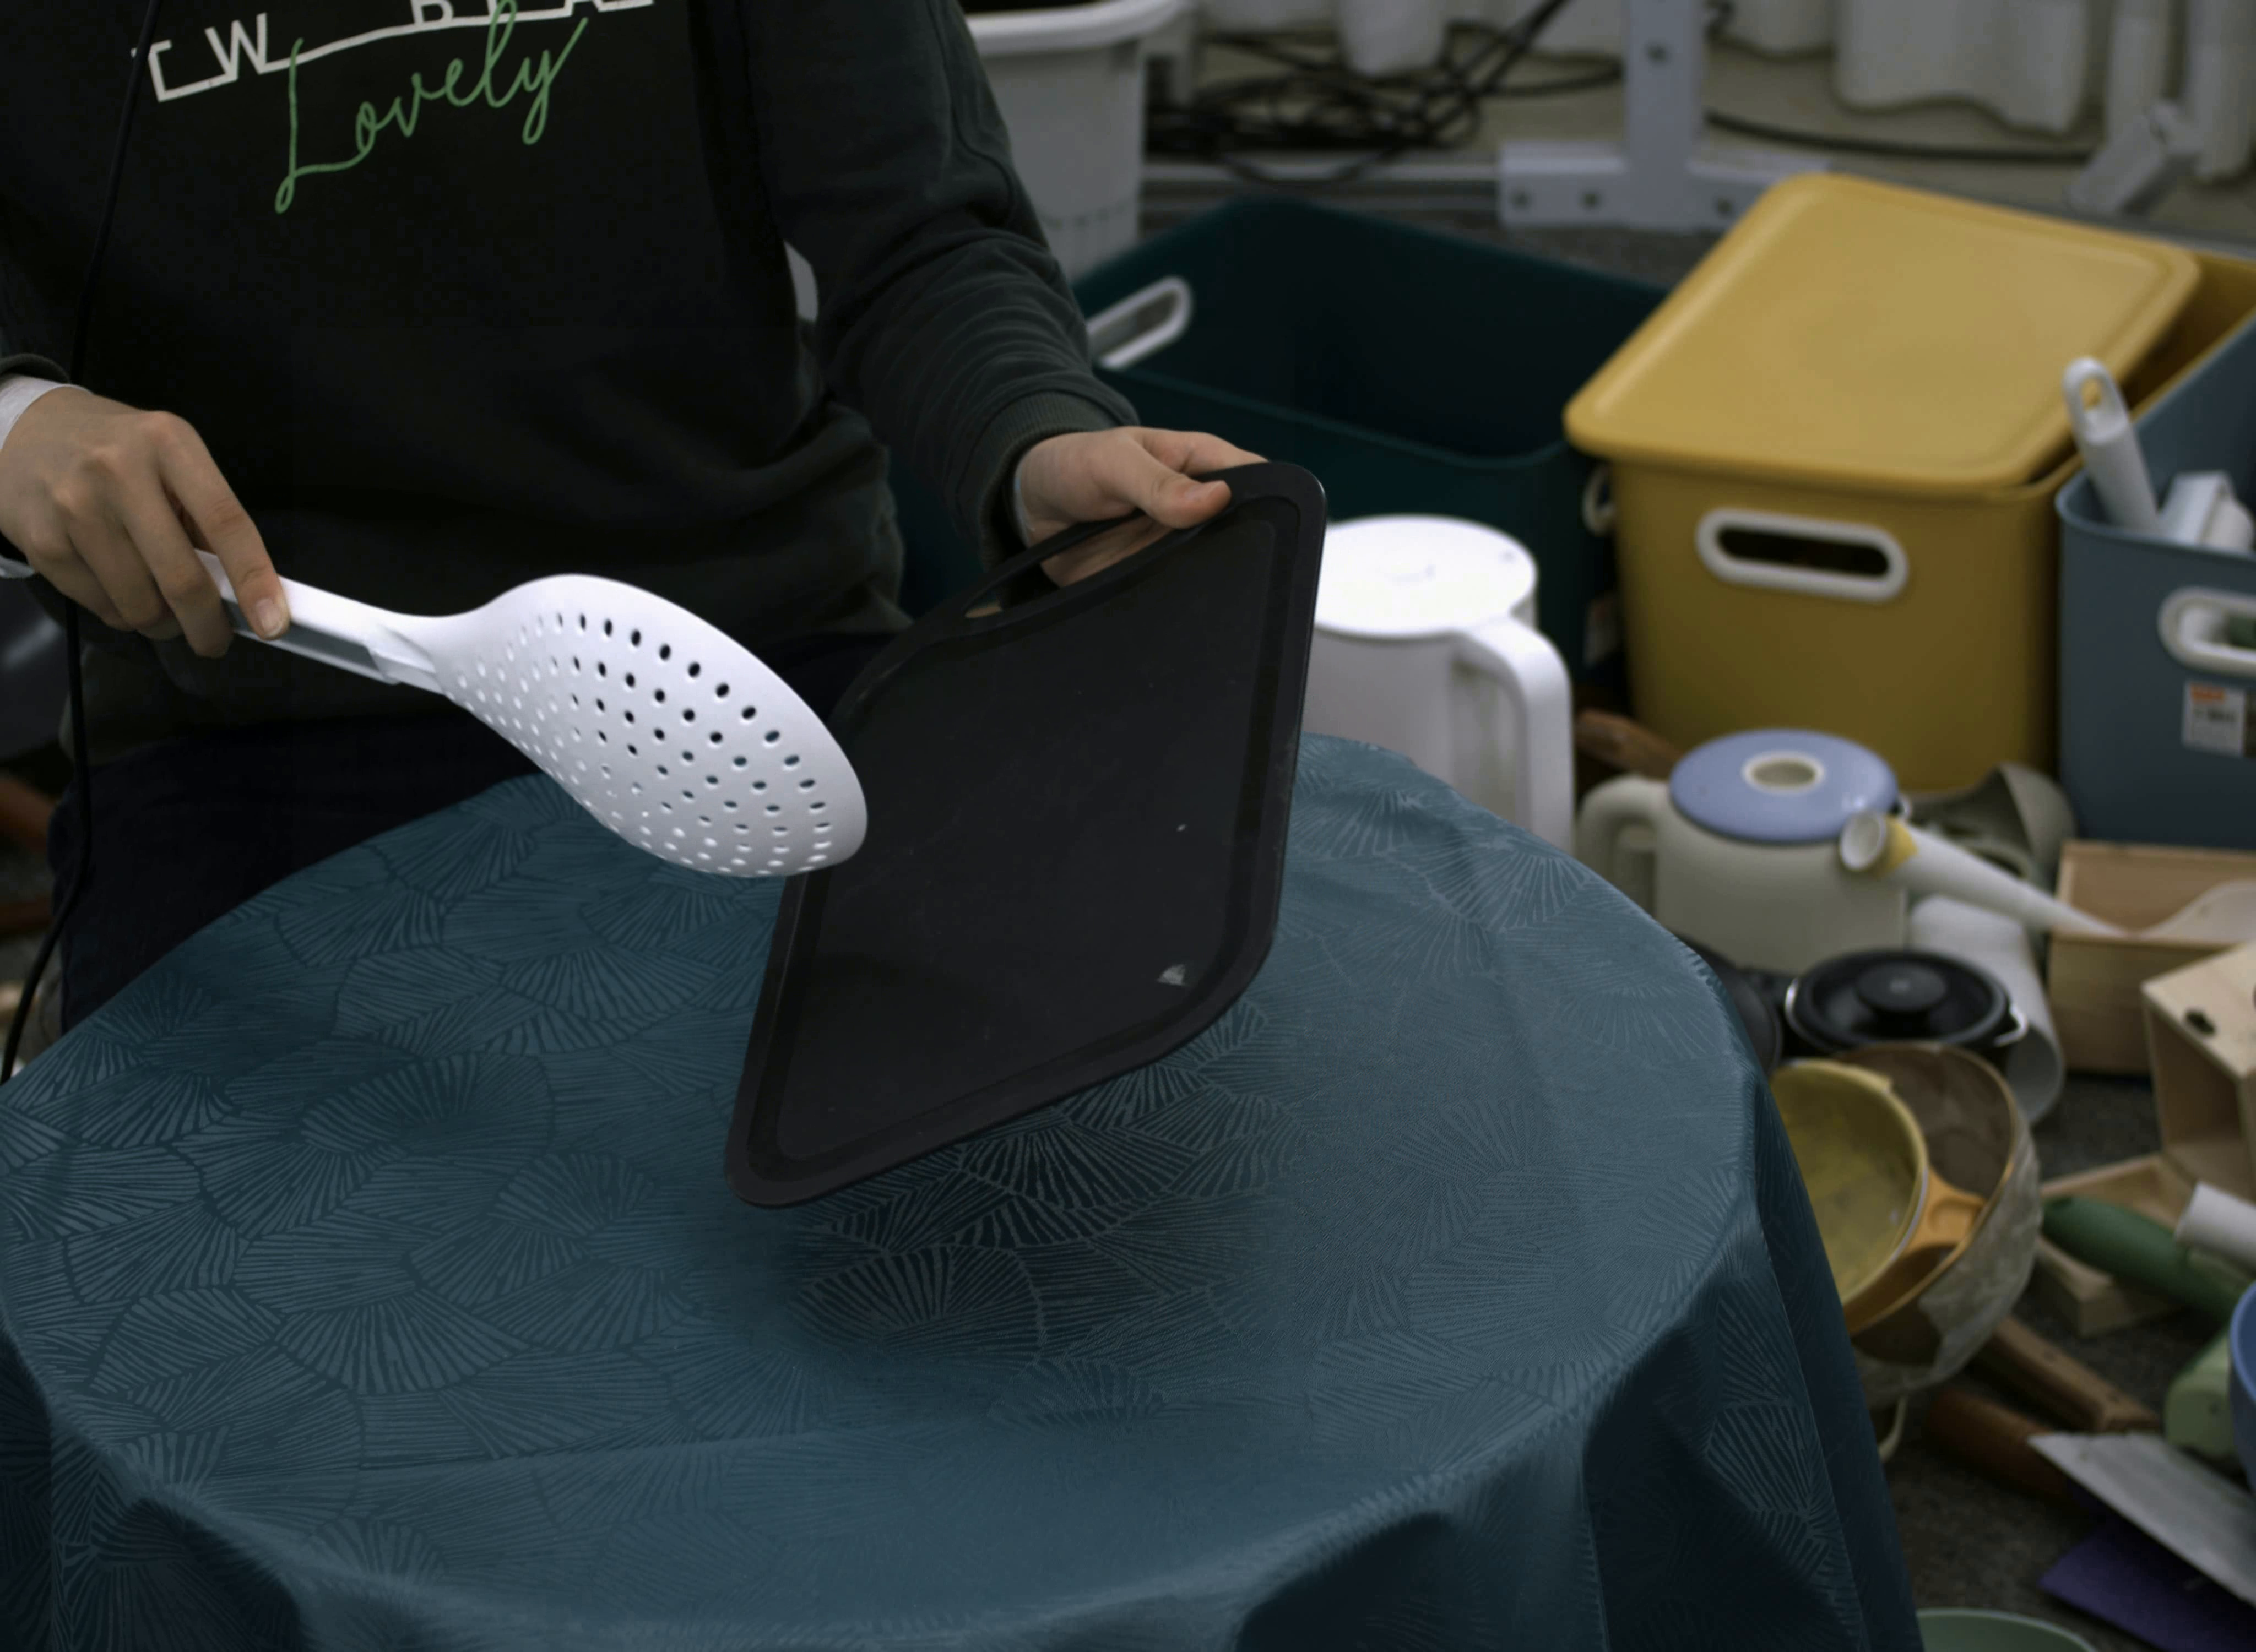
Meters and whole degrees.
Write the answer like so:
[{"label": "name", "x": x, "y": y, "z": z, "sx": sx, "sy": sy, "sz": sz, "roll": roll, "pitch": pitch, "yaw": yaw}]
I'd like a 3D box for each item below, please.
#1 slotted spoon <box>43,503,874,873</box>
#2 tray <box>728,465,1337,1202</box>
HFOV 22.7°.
[{"label": "slotted spoon", "x": -0.231, "y": -0.057, "z": 1.877, "sx": 0.349, "sy": 0.134, "sz": 0.046, "roll": 22, "pitch": 58, "yaw": 34}, {"label": "tray", "x": -0.029, "y": -0.008, "z": 1.860, "sx": 0.208, "sy": 0.010, "sz": 0.332, "roll": -23, "pitch": 32, "yaw": 23}]
